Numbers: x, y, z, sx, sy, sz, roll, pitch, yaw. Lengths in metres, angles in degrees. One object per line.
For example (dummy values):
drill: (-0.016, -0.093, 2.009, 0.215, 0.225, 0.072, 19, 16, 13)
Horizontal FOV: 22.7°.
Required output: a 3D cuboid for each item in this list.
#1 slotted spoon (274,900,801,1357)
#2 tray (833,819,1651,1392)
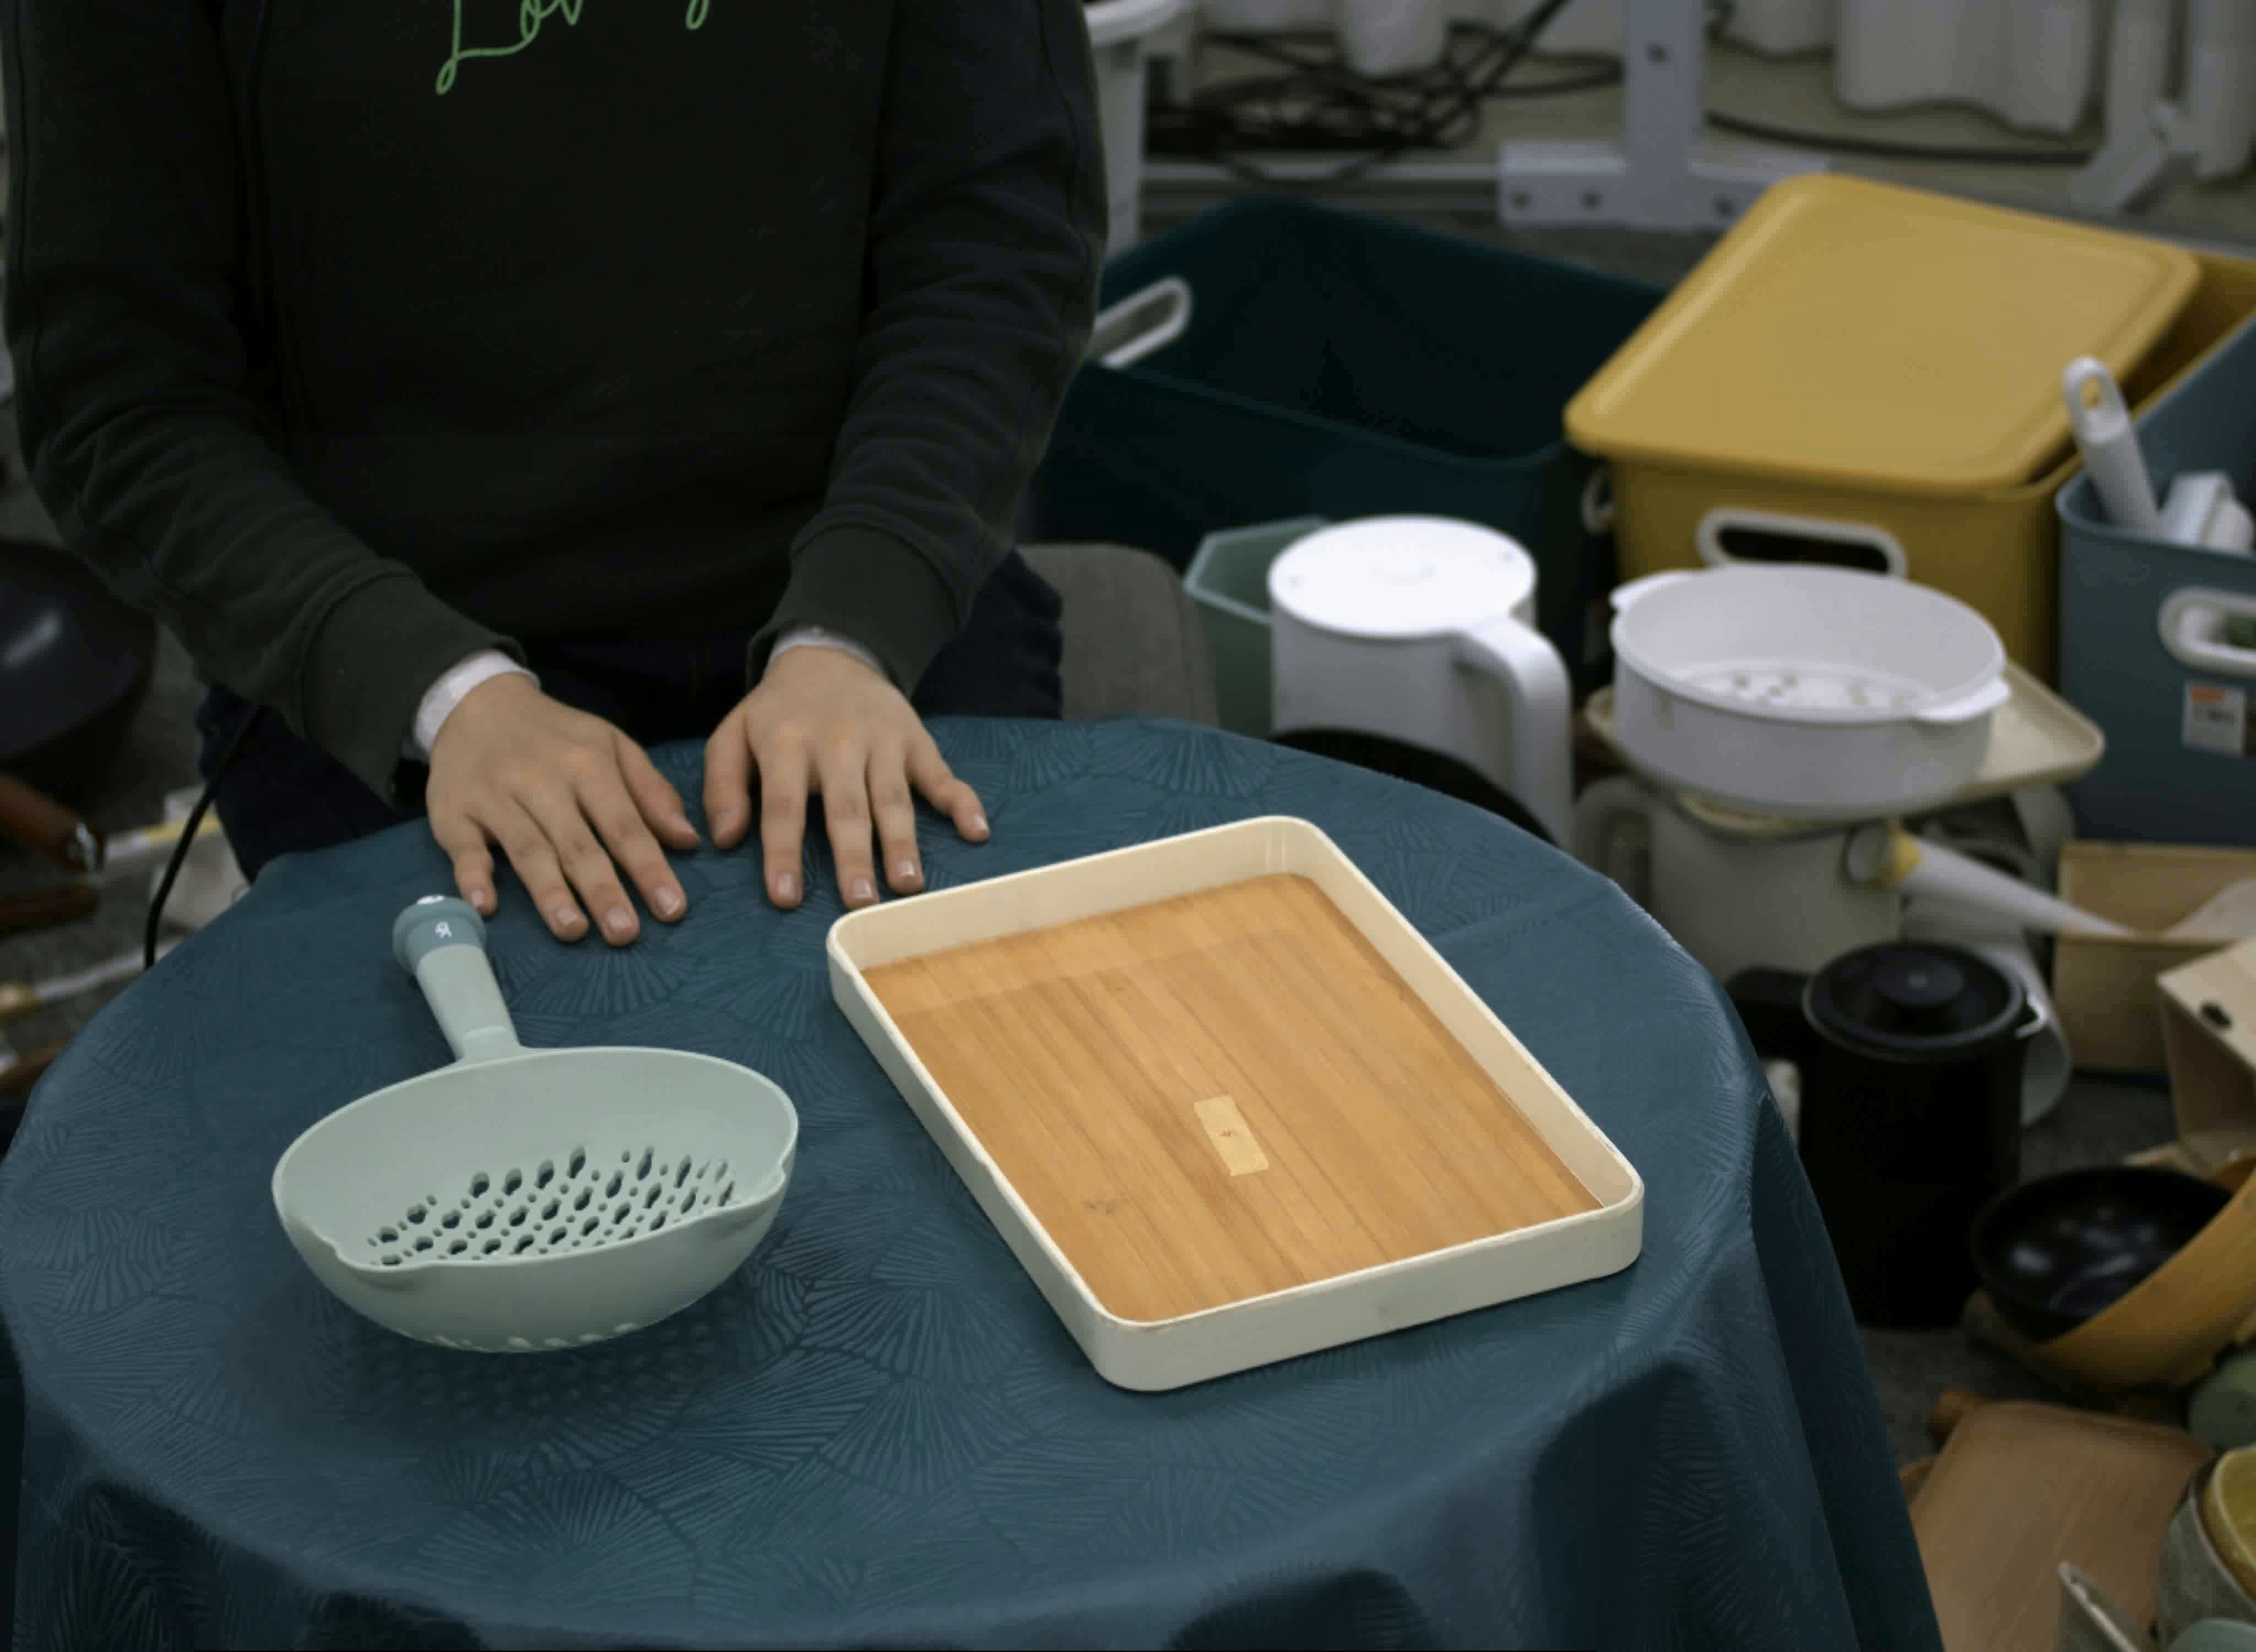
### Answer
slotted spoon: (-0.211, 0.085, 1.883, 0.169, 0.074, 0.362, -9, 28, -12)
tray: (0.032, 0.088, 1.895, 0.192, 0.027, 0.303, -12, 29, -17)
